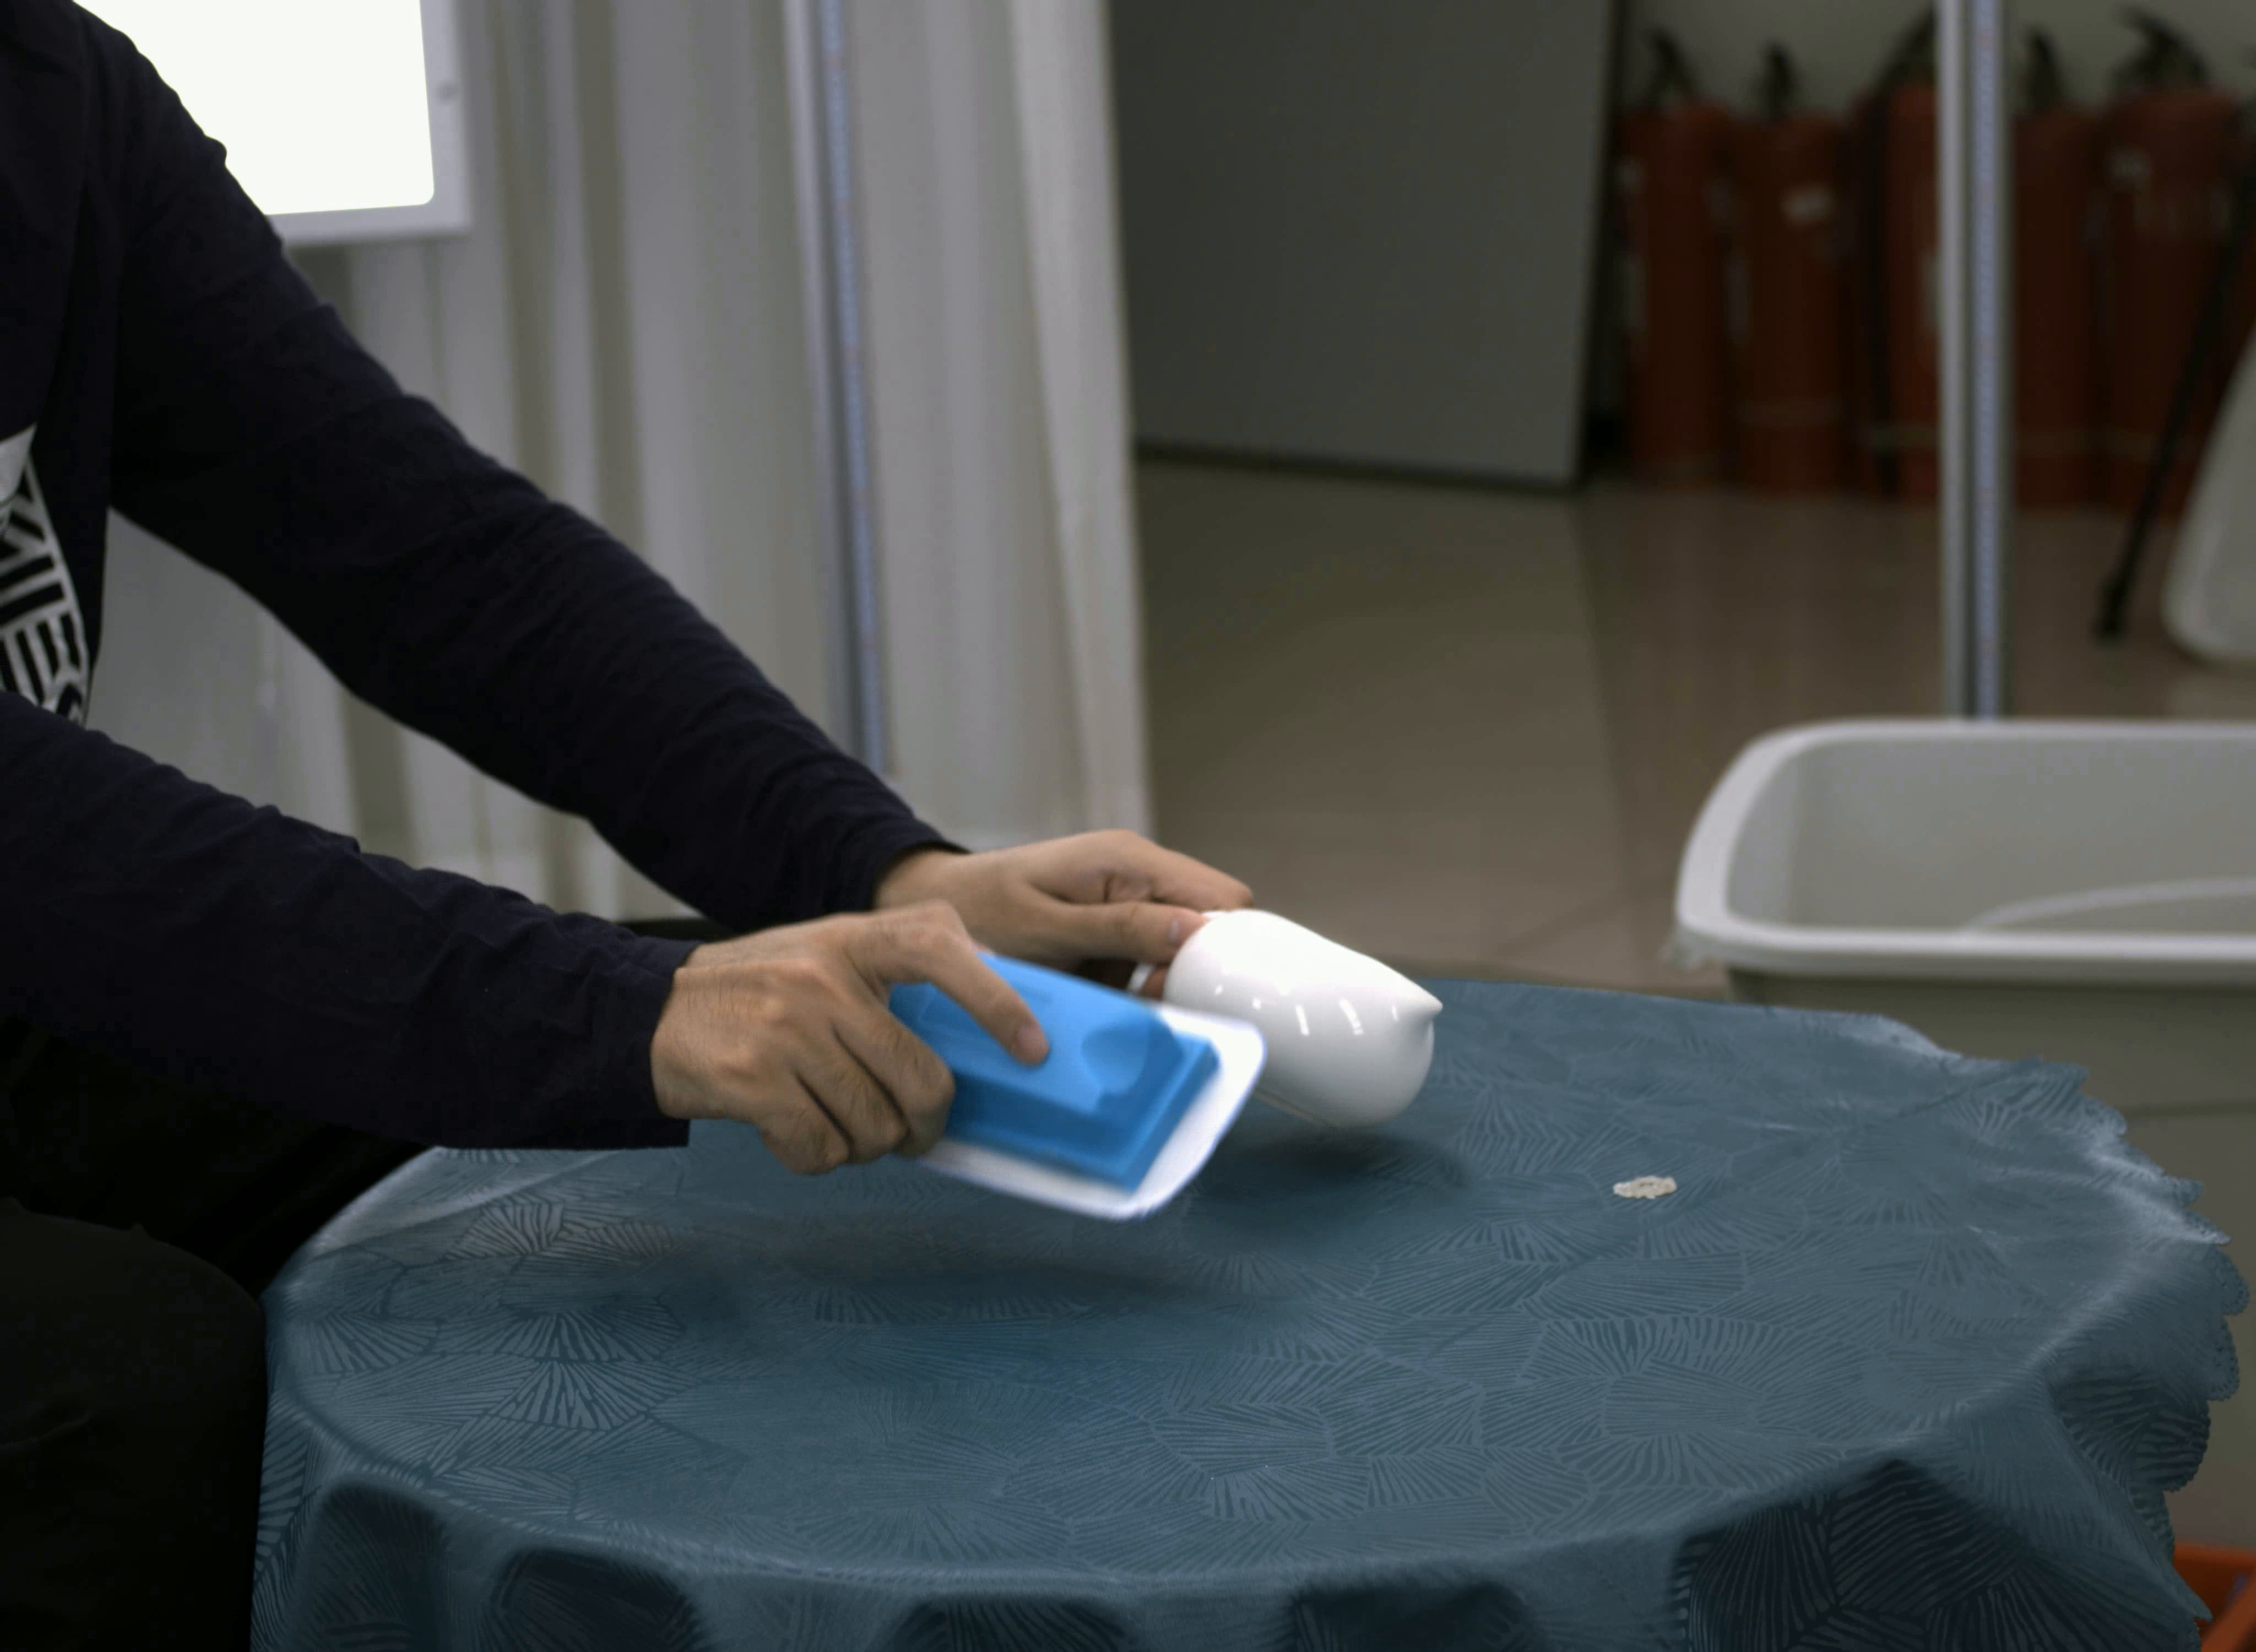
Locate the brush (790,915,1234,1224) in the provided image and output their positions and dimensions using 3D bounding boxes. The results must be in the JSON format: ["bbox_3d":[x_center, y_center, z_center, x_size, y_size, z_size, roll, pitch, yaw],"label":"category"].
[{"bbox_3d":[-0.040,0.072,1.690,0.145,0.056,0.083,19,56,39],"label":"brush"}]

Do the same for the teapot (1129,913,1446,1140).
[{"bbox_3d":[0.050,0.065,1.797,0.128,0.057,0.092,21,-4,39],"label":"teapot"}]
